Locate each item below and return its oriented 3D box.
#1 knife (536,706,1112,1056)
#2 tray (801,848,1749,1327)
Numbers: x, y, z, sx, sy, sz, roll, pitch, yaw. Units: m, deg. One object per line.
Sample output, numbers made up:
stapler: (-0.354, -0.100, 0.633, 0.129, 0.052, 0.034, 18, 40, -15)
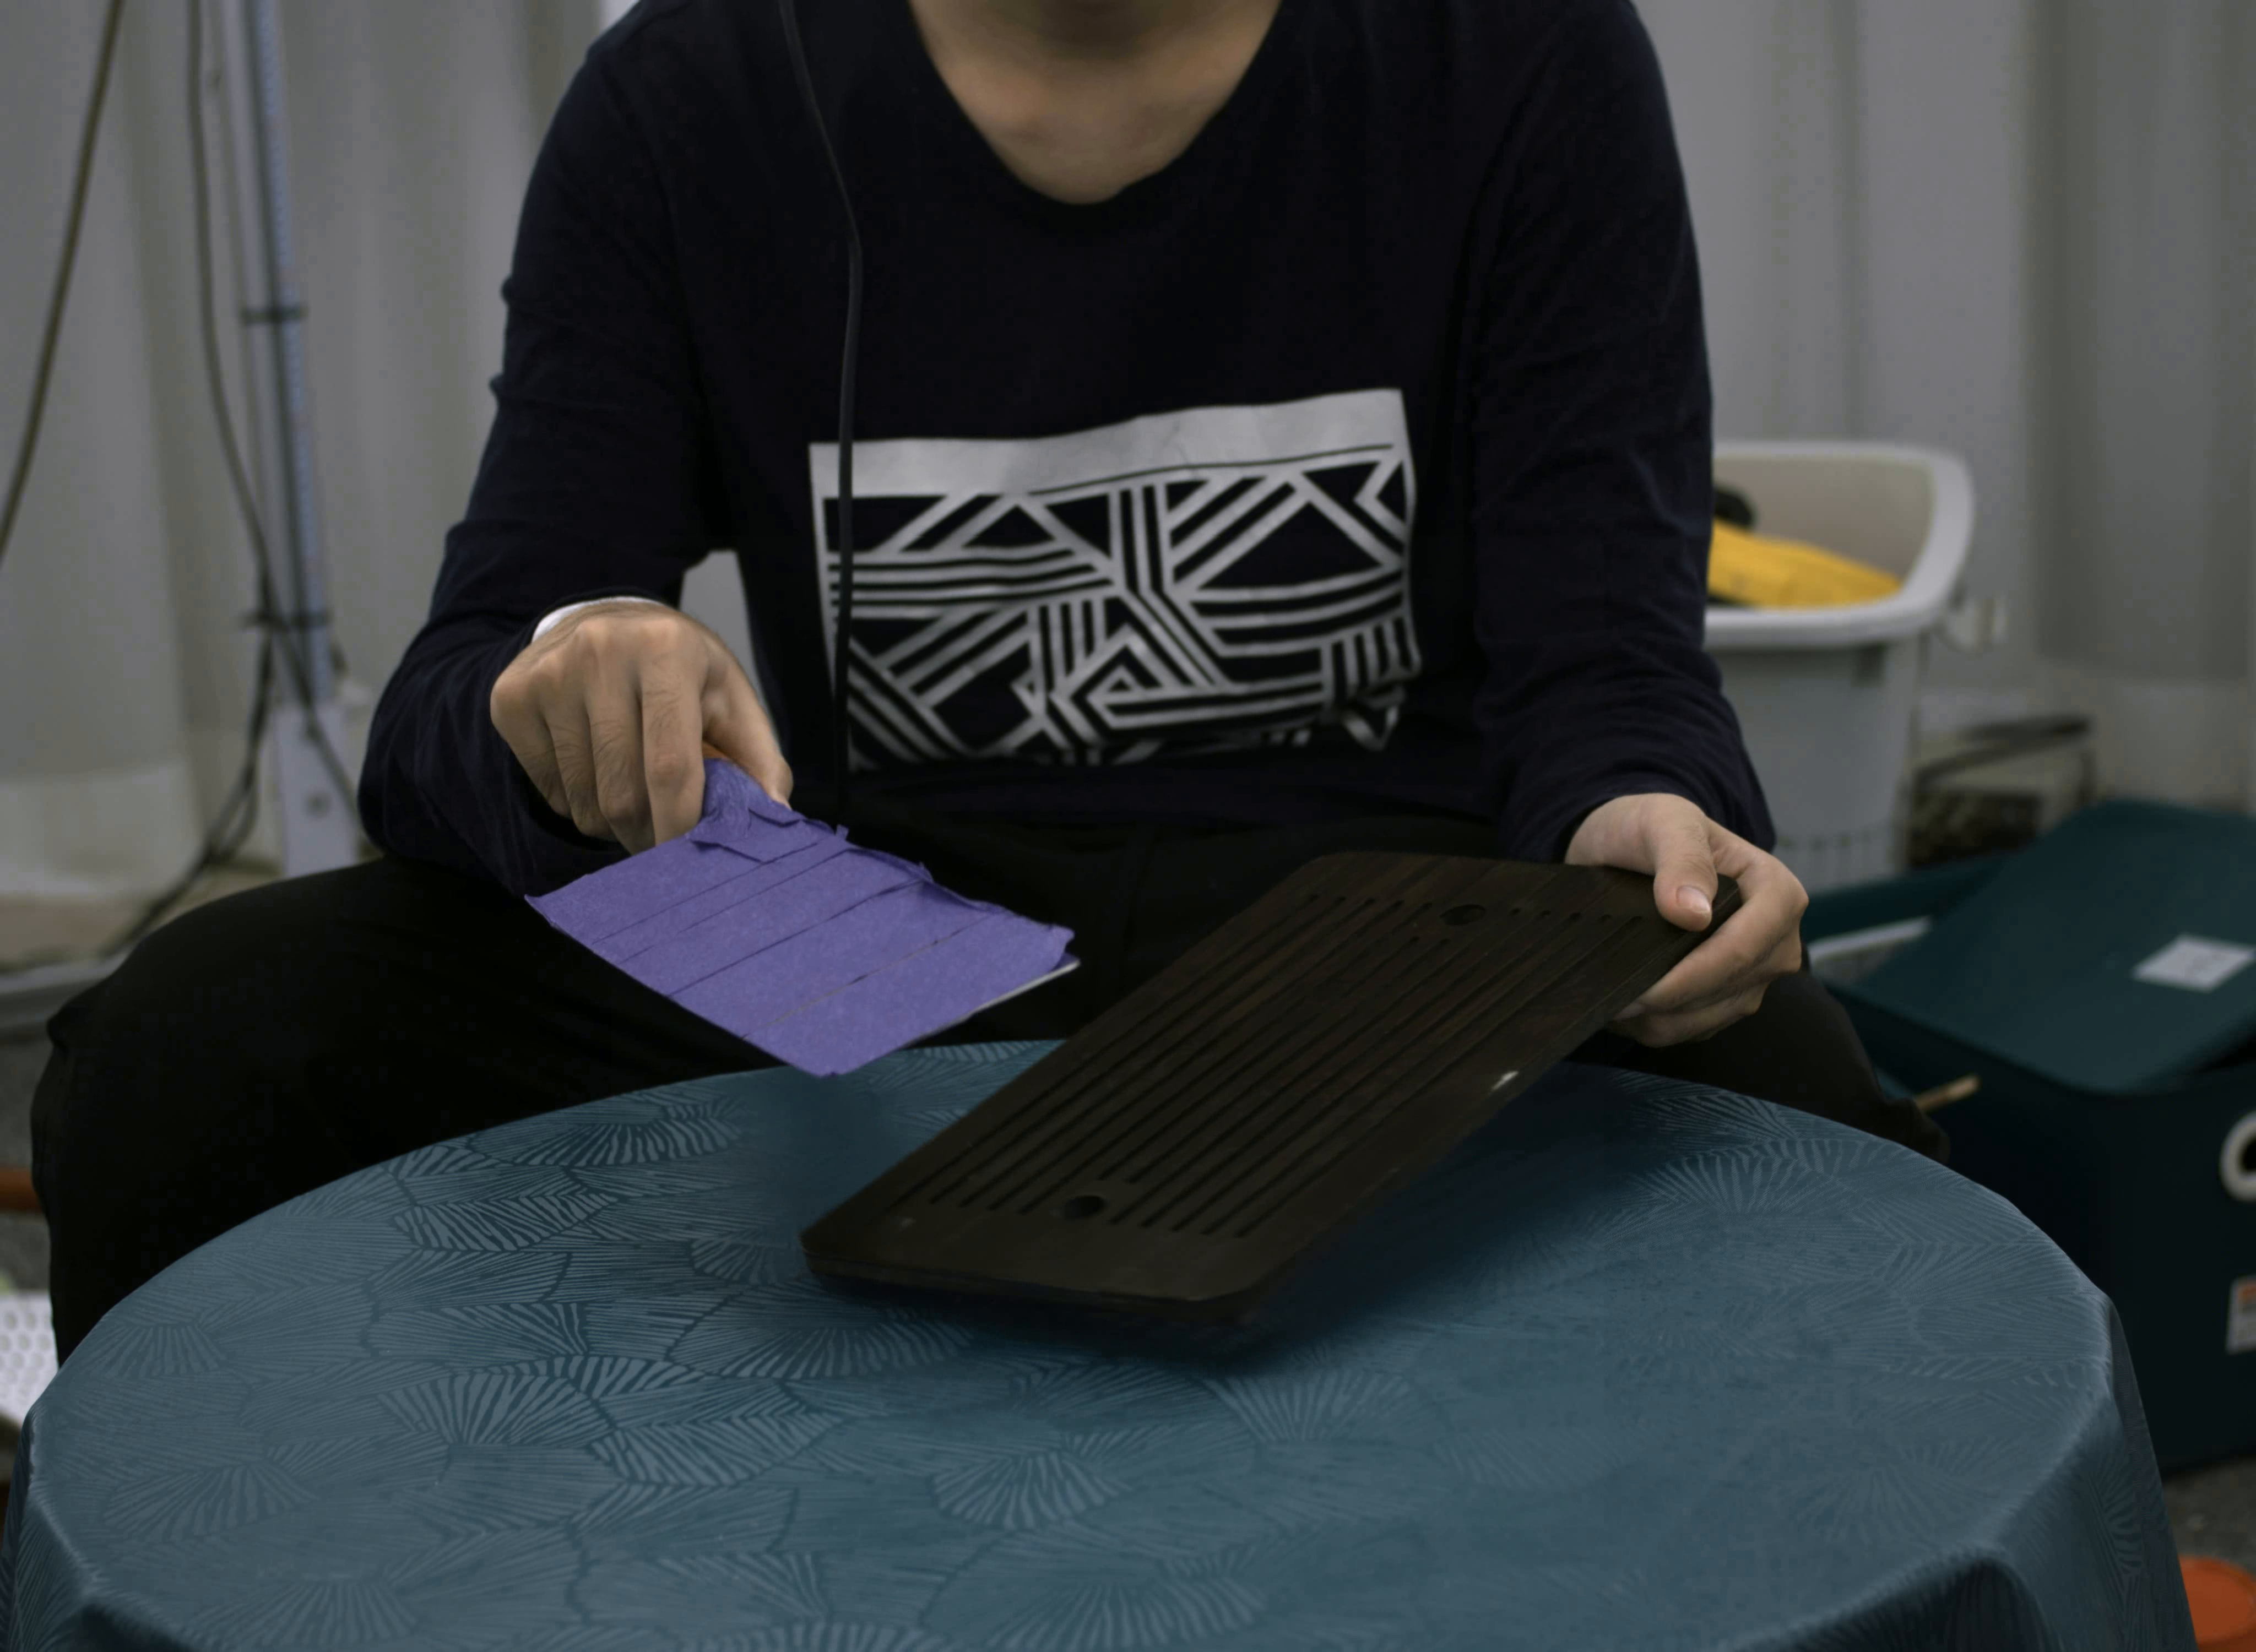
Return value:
knife: (-0.126, 0.014, 1.695, 0.104, 0.032, 0.317, -23, 22, -25)
tray: (0.051, 0.078, 1.702, 0.170, 0.018, 0.307, 4, 25, 38)
